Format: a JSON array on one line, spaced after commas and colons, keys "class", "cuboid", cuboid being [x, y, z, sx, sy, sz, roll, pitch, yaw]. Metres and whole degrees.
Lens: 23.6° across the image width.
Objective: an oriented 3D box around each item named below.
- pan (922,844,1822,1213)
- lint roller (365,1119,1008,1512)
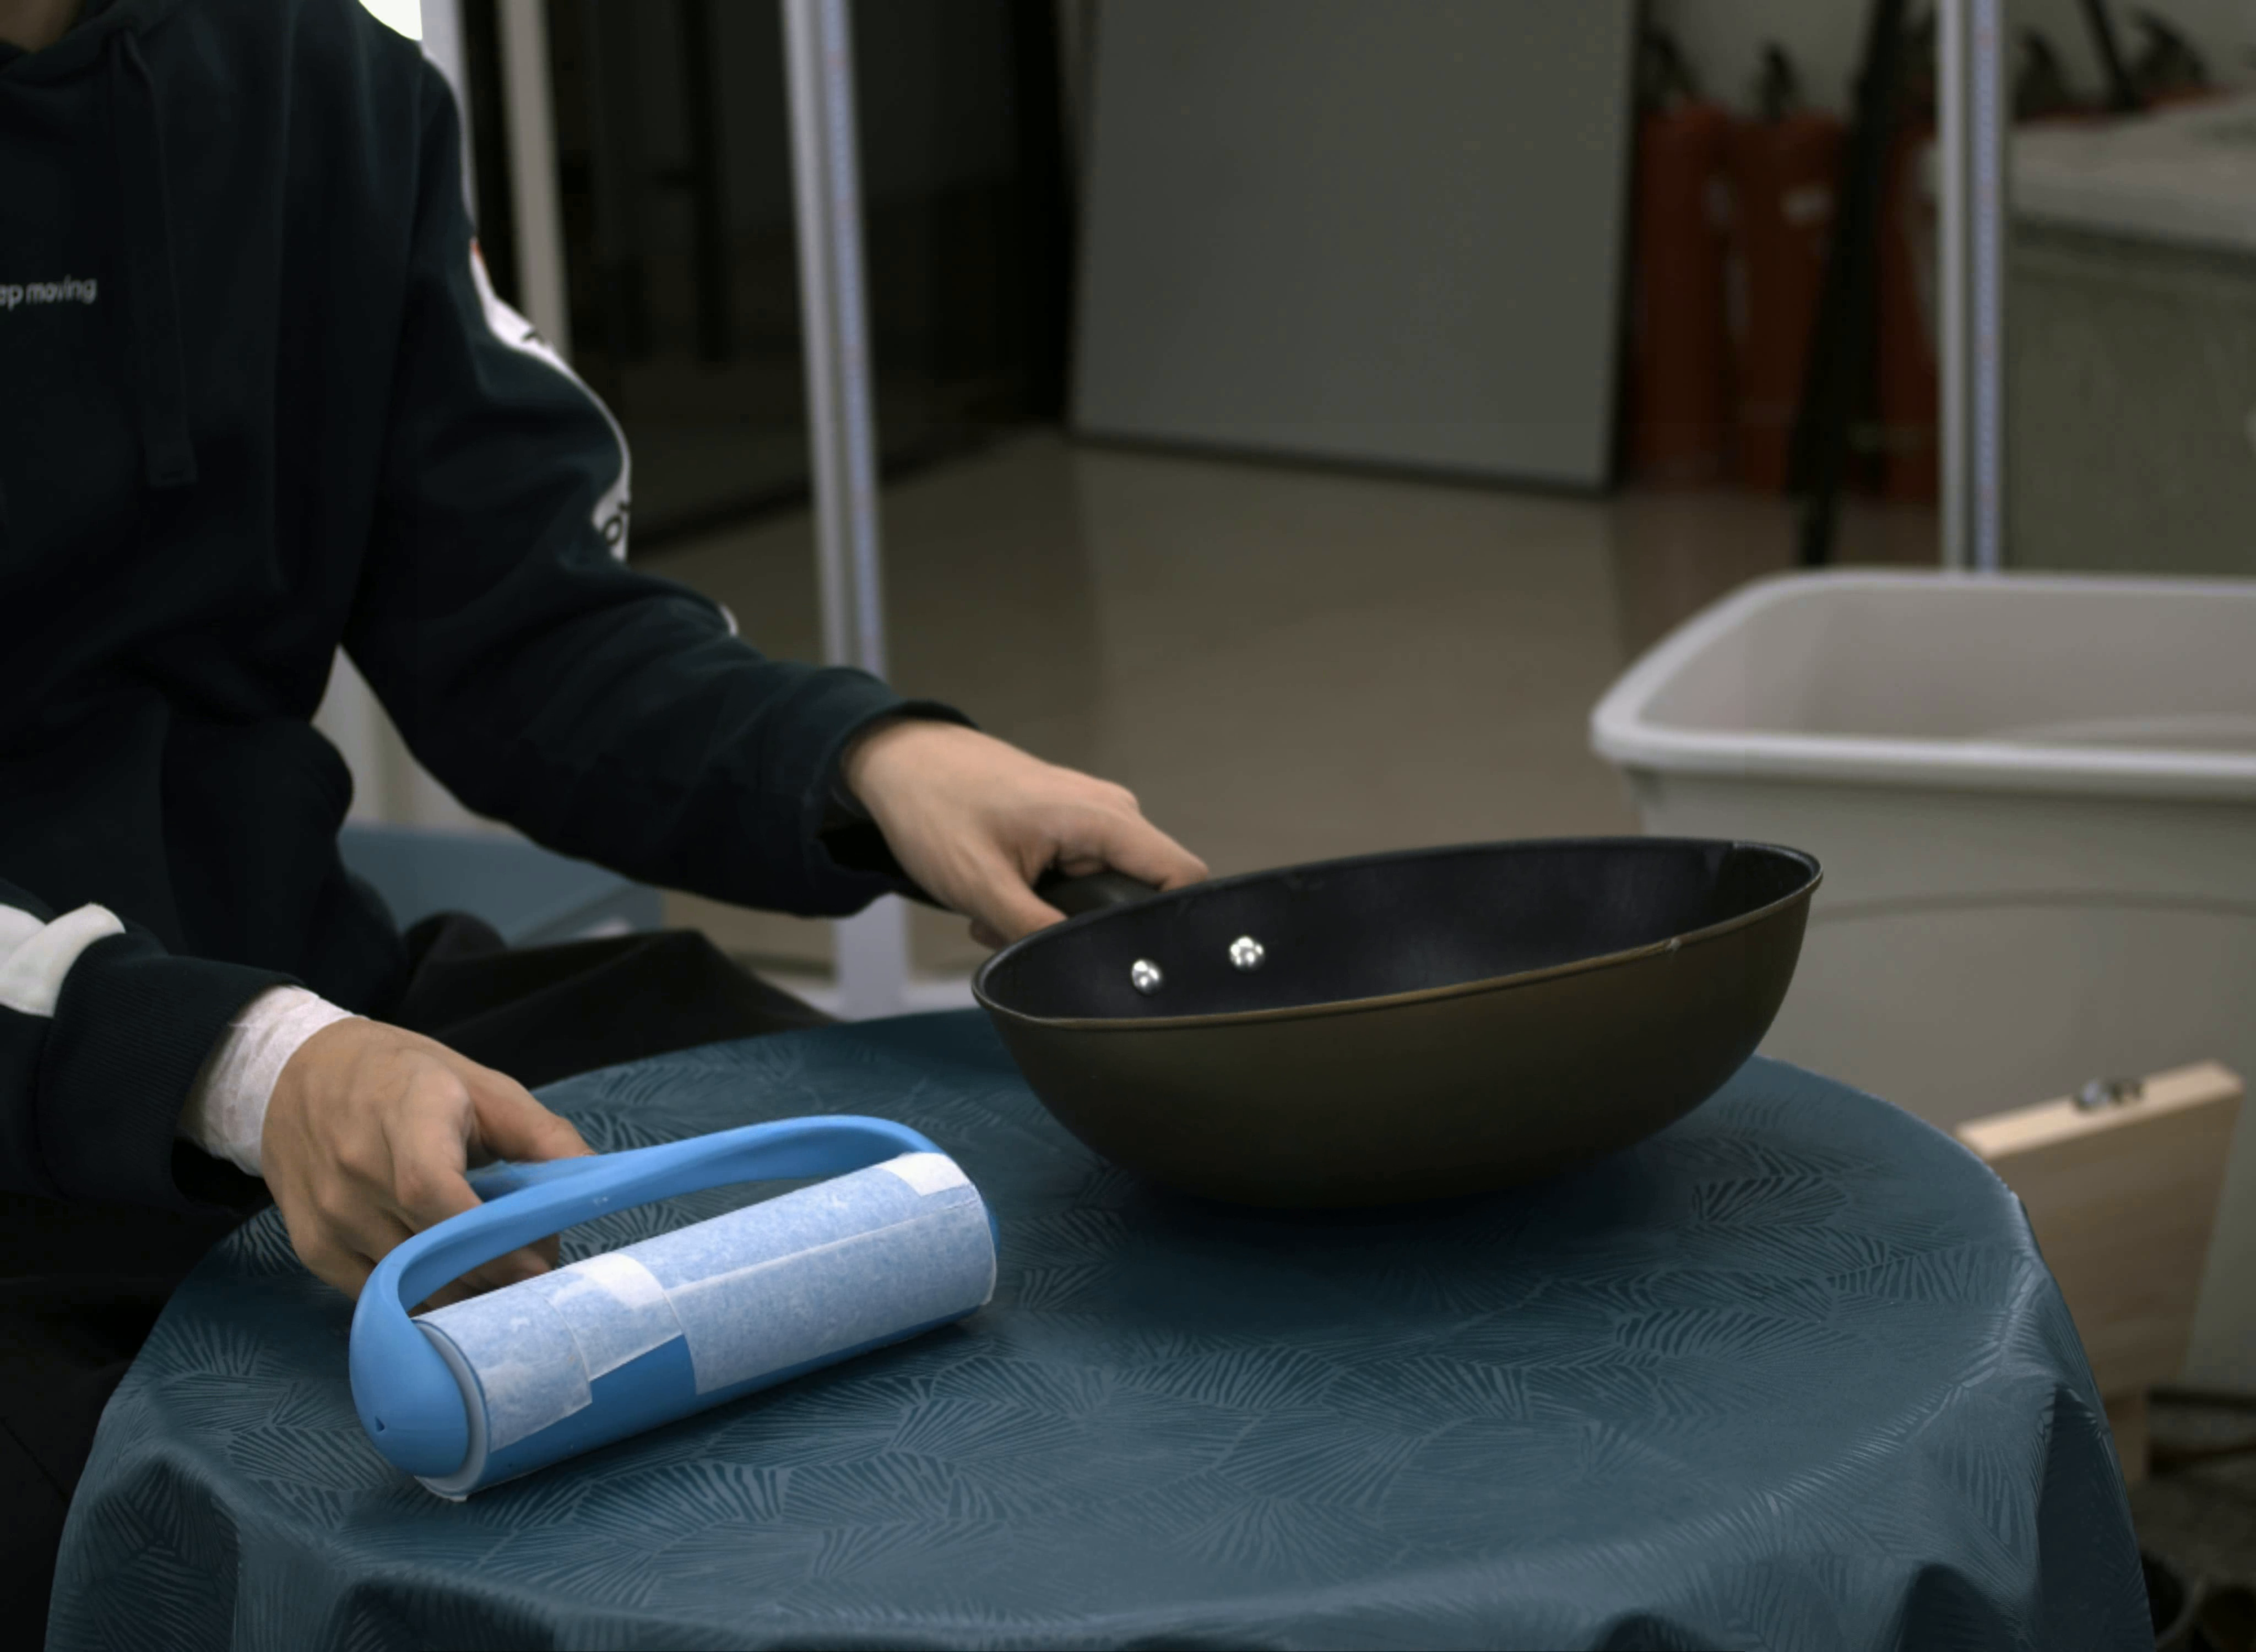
[{"class": "pan", "cuboid": [0.044, 0.066, 1.830, 0.282, 0.088, 0.468, -12, 8, -29]}, {"class": "lint roller", "cuboid": [-0.166, 0.136, 1.636, 0.182, 0.068, 0.224, 13, 24, 43]}]
